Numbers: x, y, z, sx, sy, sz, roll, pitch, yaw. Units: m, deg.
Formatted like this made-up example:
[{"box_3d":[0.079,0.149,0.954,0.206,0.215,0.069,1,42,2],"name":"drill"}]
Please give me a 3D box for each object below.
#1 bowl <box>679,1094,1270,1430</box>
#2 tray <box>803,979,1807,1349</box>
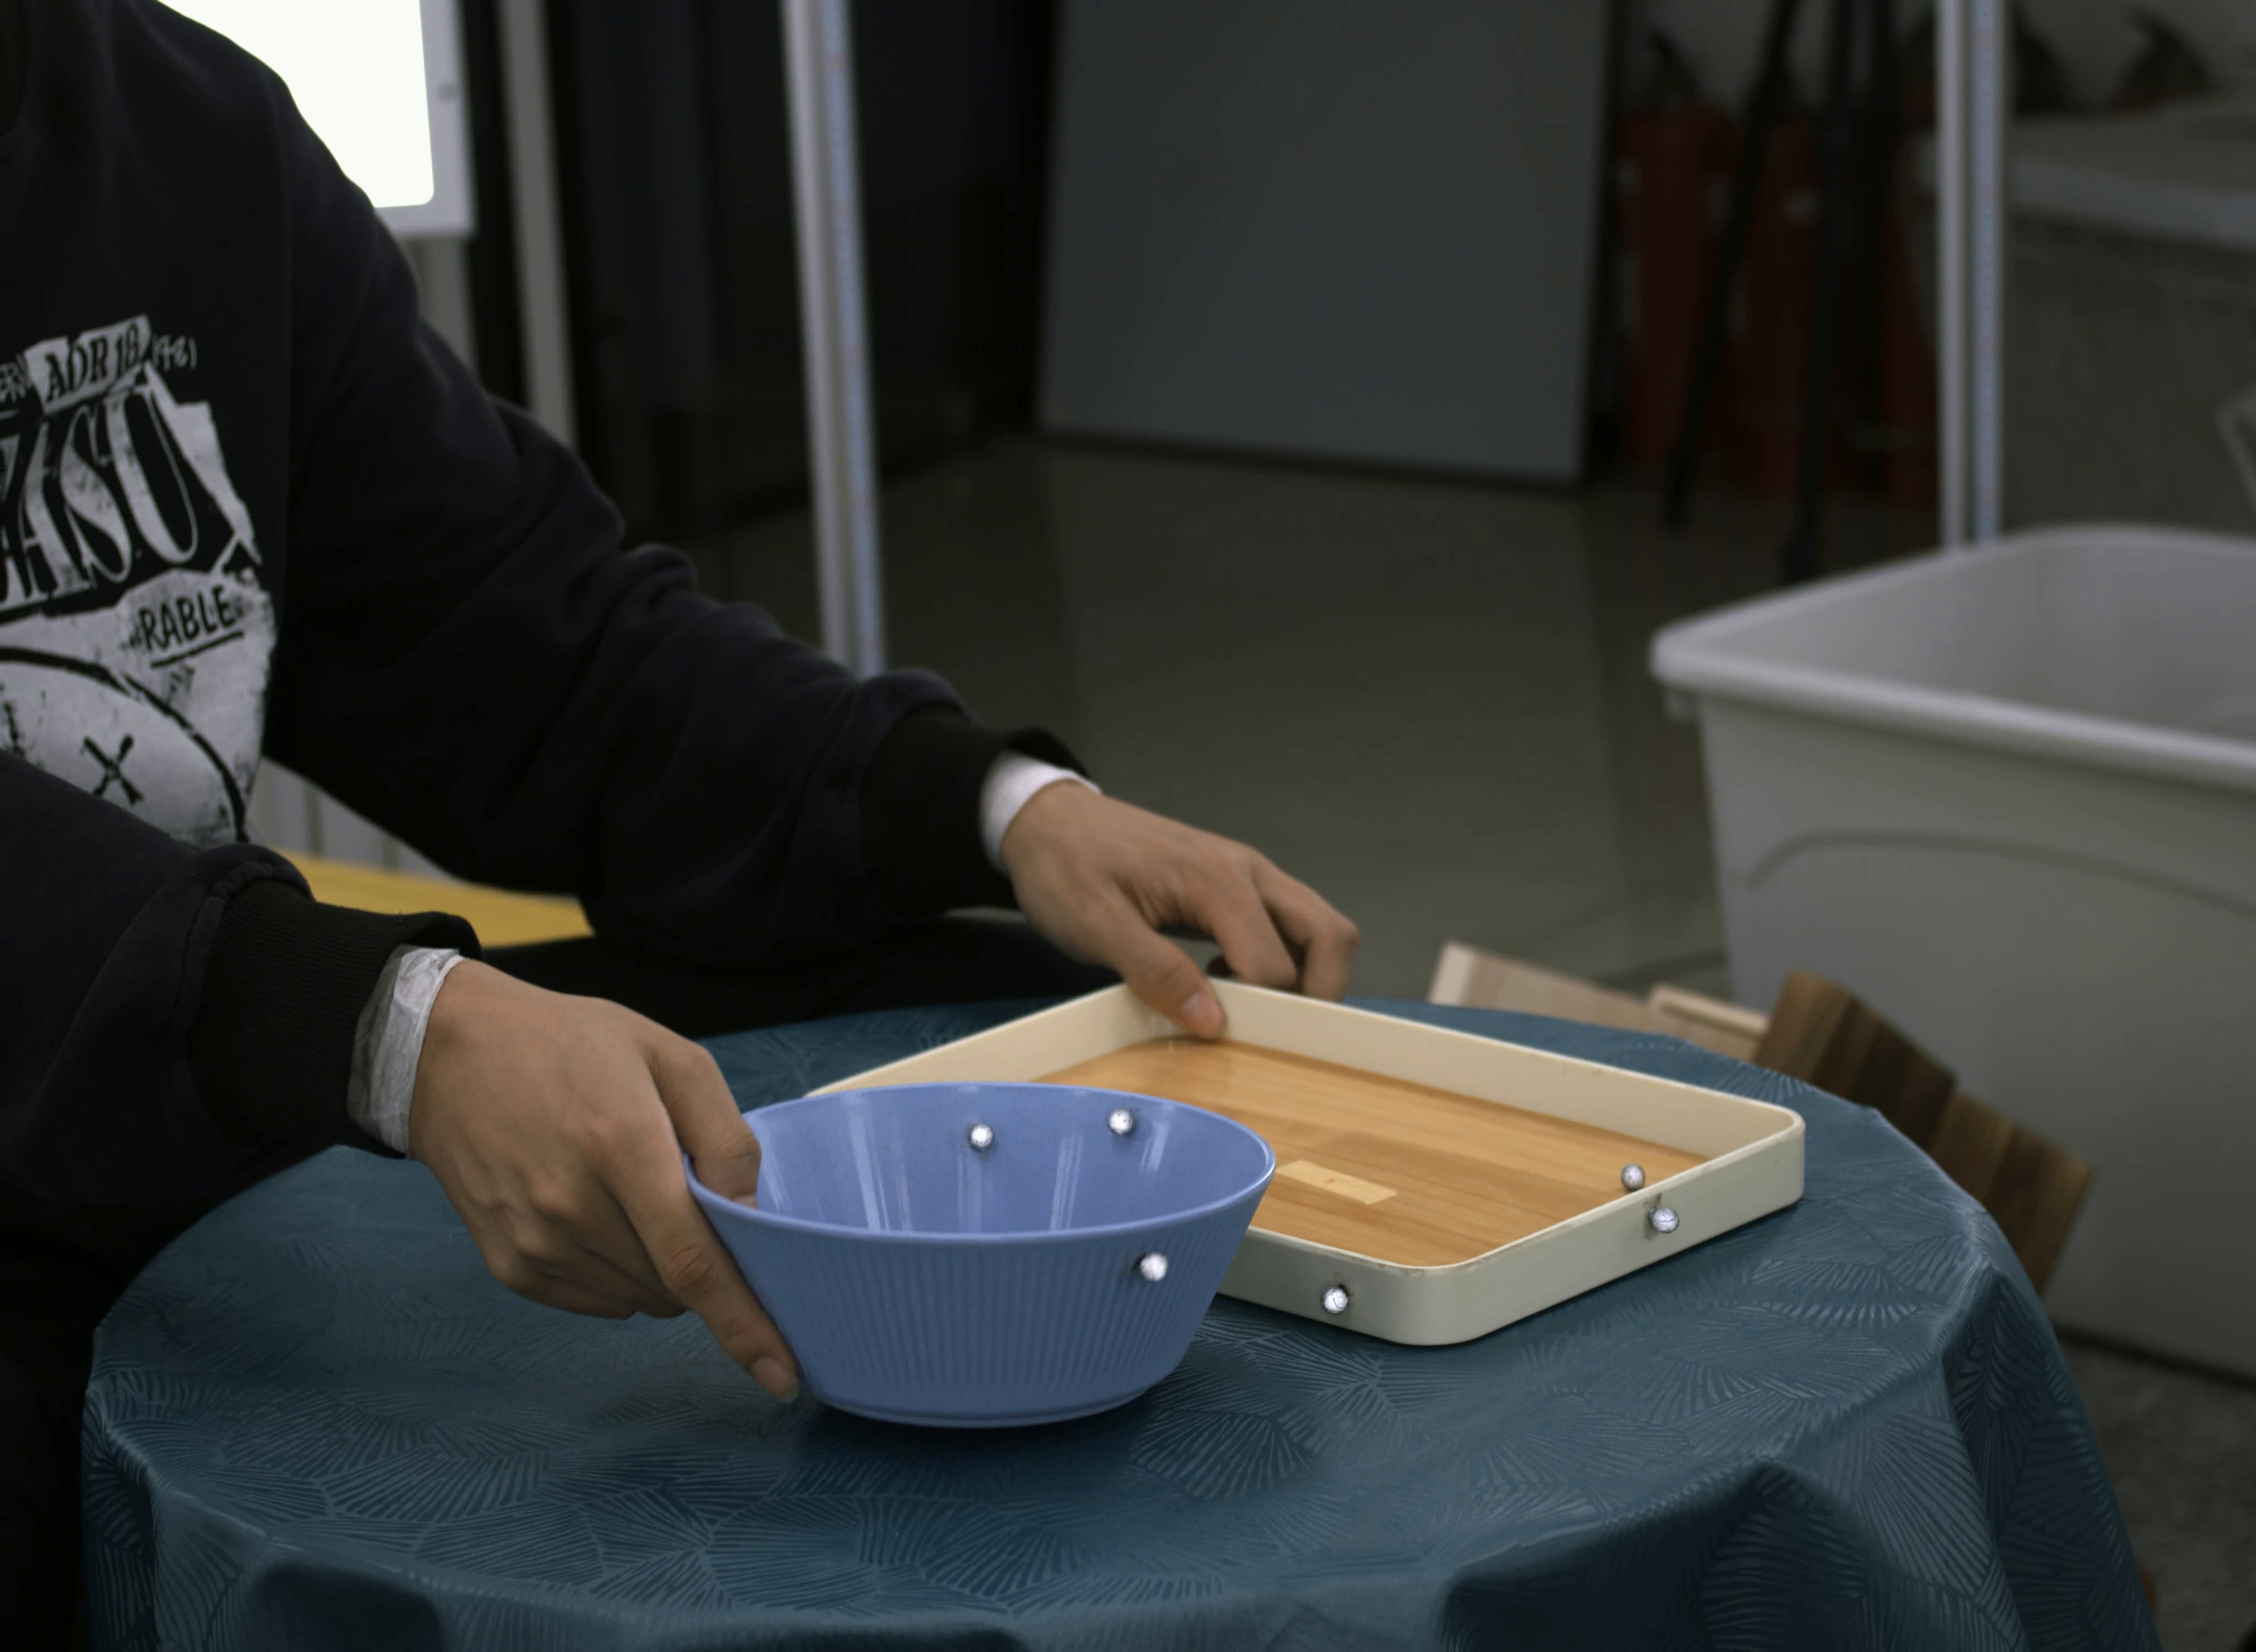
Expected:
[{"box_3d":[-0.045,0.129,1.582,0.173,0.071,0.176,0,10,-1],"name":"bowl"},{"box_3d":[0.055,0.106,1.759,0.187,0.028,0.303,-18,20,-41],"name":"tray"}]
